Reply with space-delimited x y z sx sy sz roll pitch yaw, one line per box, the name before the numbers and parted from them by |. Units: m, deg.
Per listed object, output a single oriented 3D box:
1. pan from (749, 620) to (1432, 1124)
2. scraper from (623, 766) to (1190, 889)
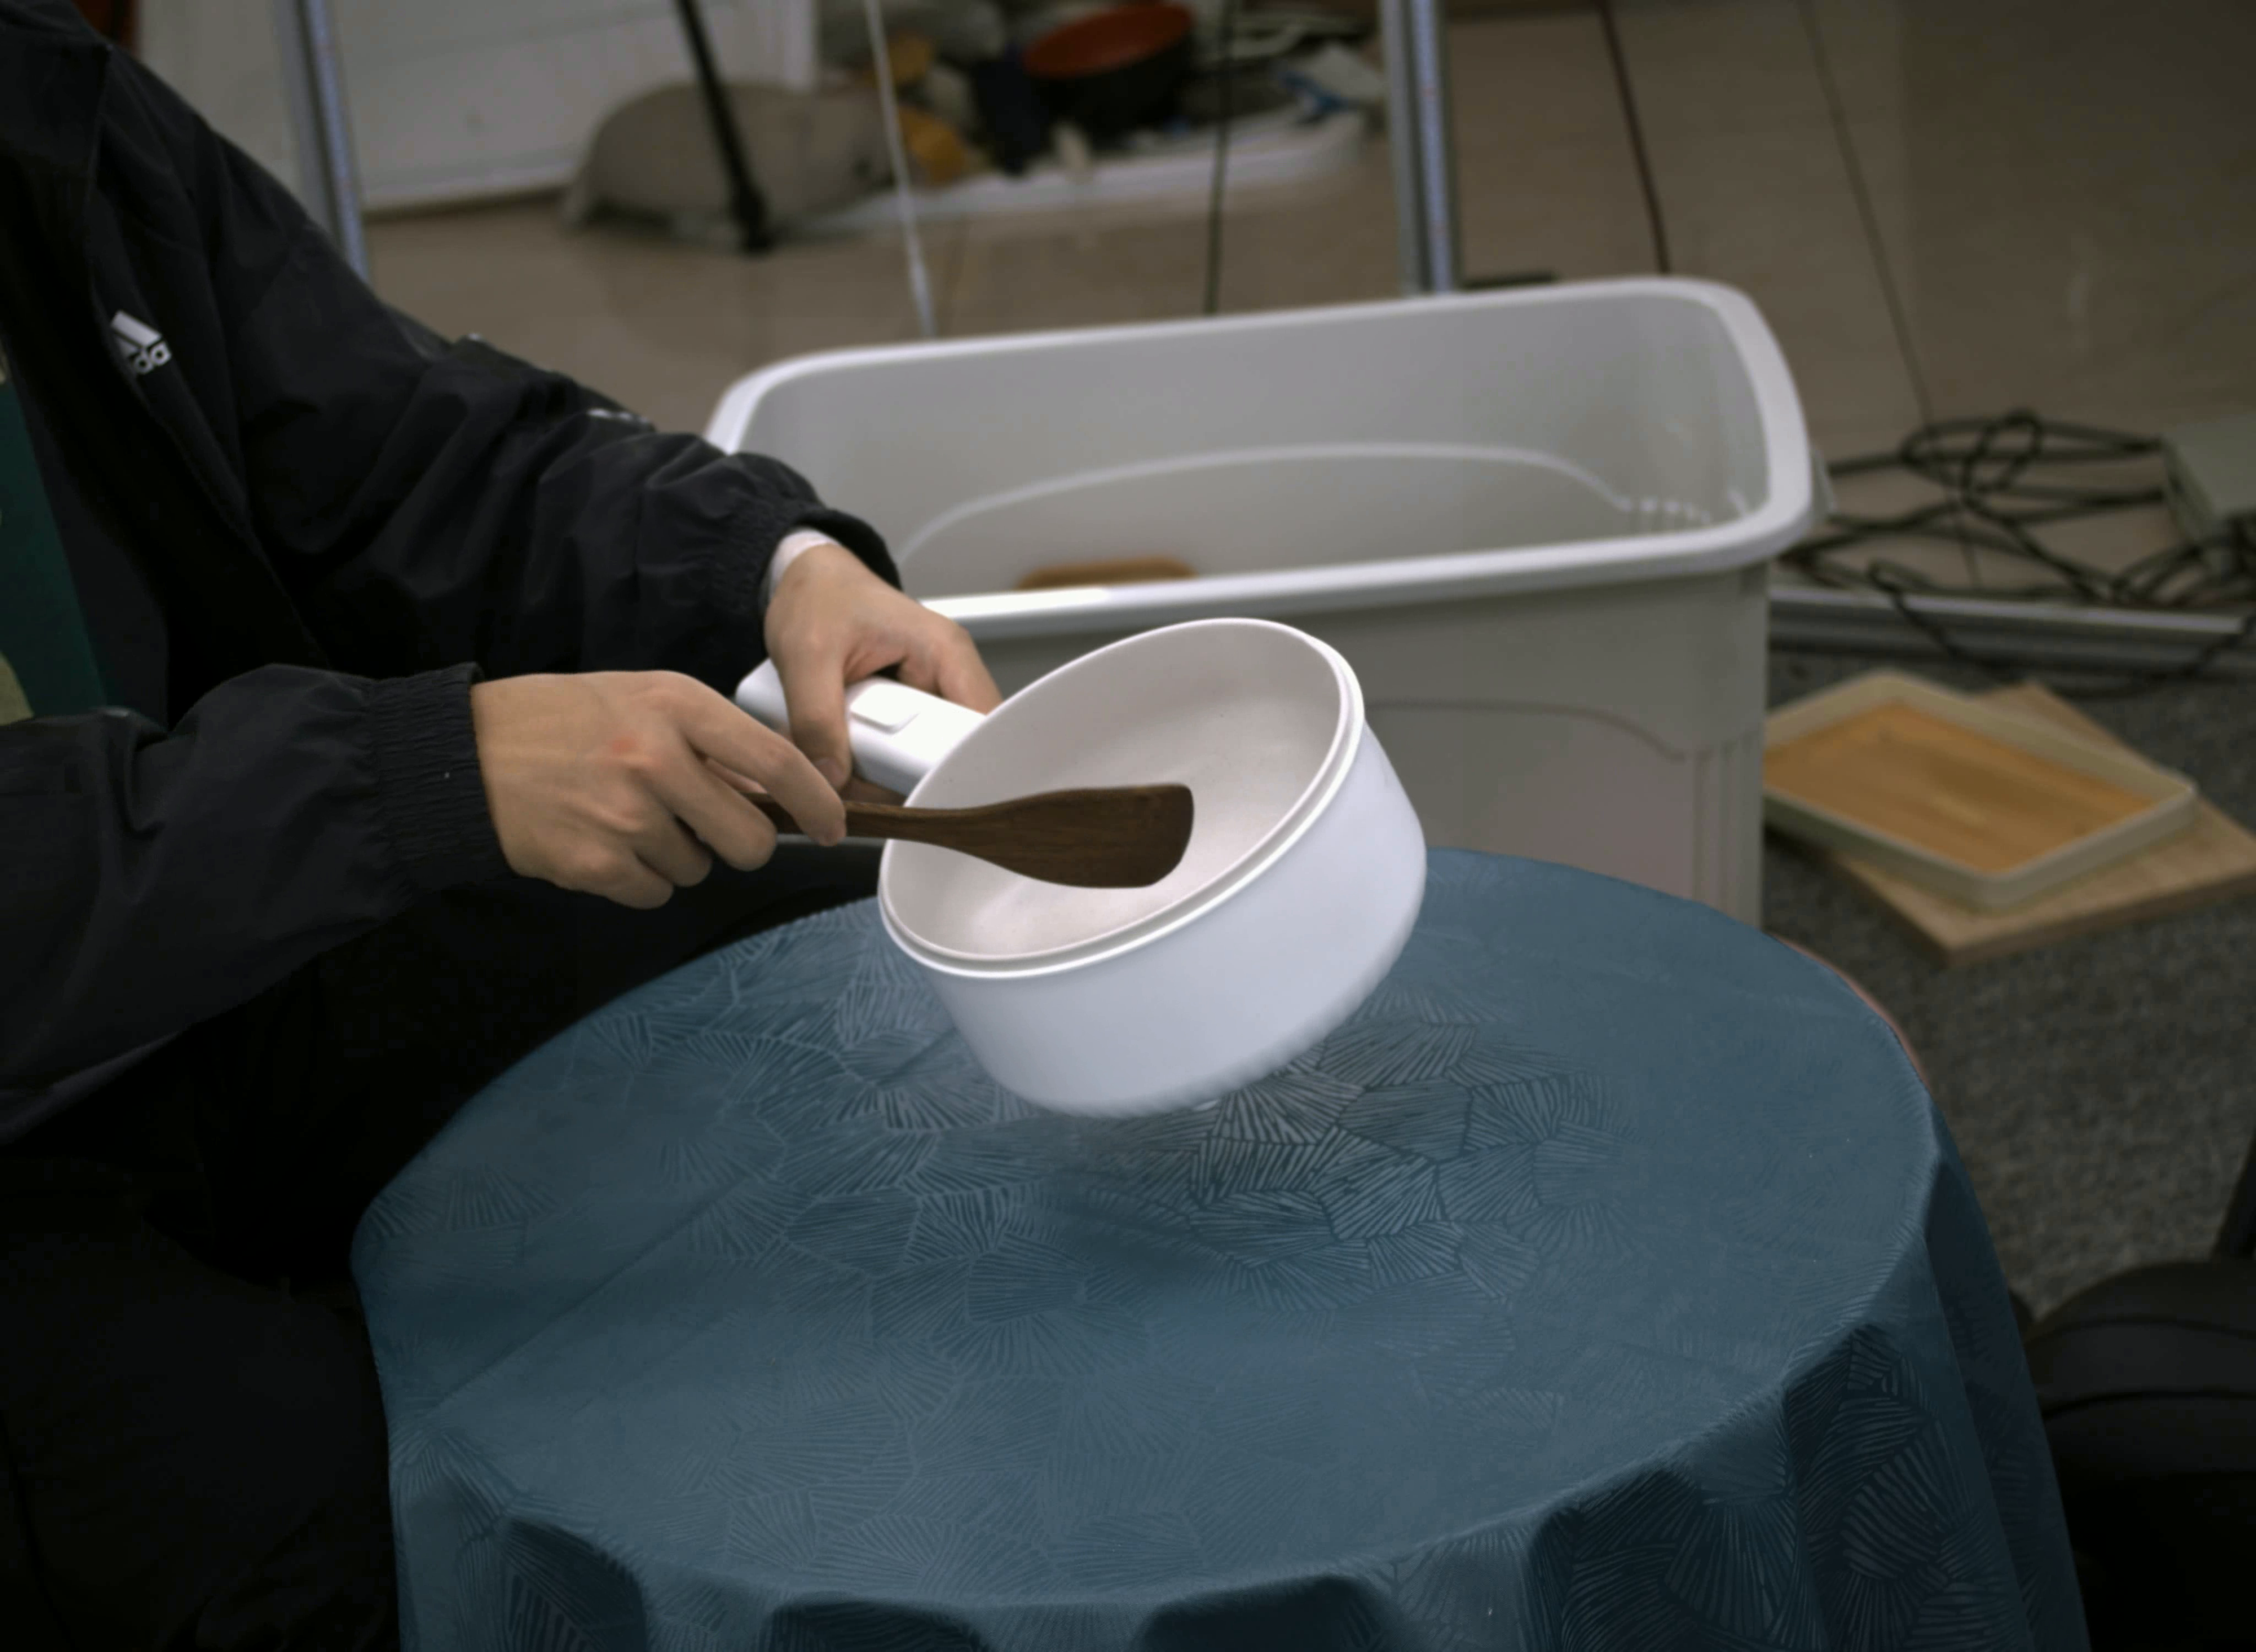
pan | -0.027 0.007 2.218 0.199 0.103 0.352 -43 33 -19
scraper | -0.083 -0.002 2.108 0.211 0.077 0.010 3 57 -3
